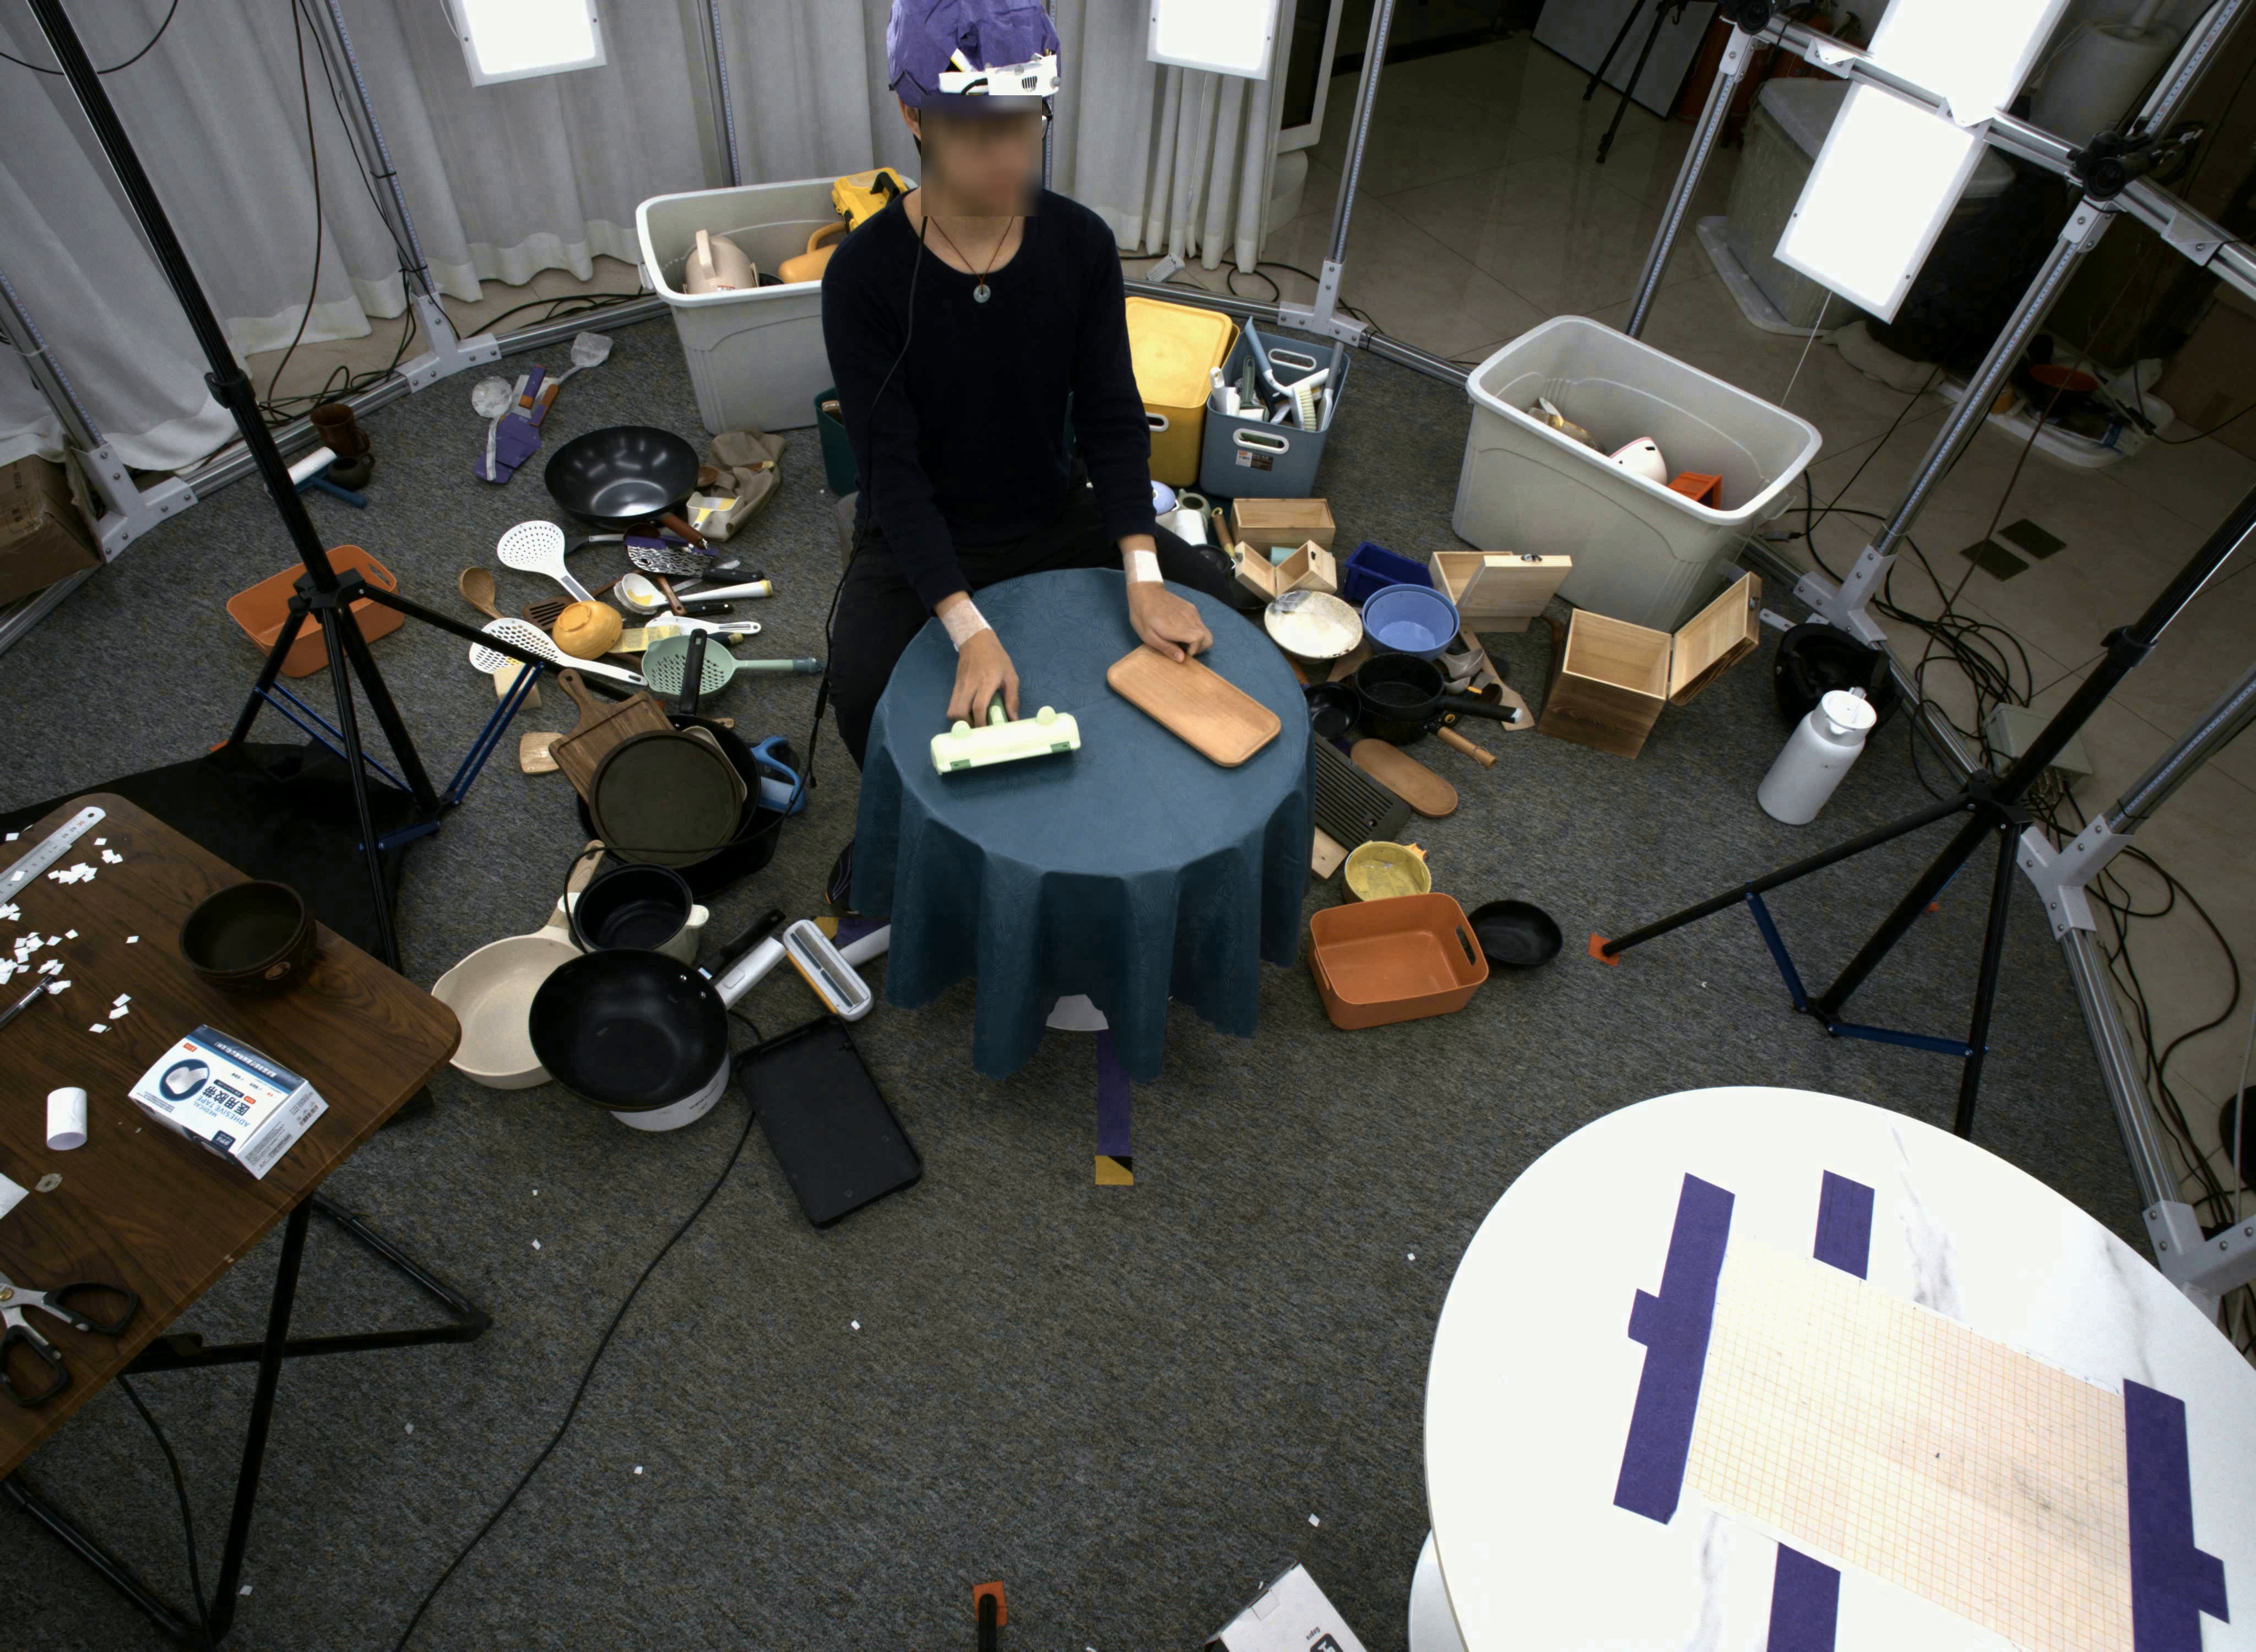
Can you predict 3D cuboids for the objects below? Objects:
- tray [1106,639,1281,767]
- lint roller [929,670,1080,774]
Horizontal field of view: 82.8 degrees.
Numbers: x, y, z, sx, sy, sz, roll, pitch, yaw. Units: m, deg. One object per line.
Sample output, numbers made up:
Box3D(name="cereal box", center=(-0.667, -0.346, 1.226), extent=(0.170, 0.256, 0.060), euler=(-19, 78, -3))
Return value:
Box3D(name="tray", center=(0.090, -0.176, 1.817), extent=(0.254, 0.022, 0.132), euler=(37, 55, 26))
Box3D(name="lint roller", center=(-0.181, -0.160, 1.739), extent=(0.198, 0.080, 0.187), euler=(-11, 57, -14))
